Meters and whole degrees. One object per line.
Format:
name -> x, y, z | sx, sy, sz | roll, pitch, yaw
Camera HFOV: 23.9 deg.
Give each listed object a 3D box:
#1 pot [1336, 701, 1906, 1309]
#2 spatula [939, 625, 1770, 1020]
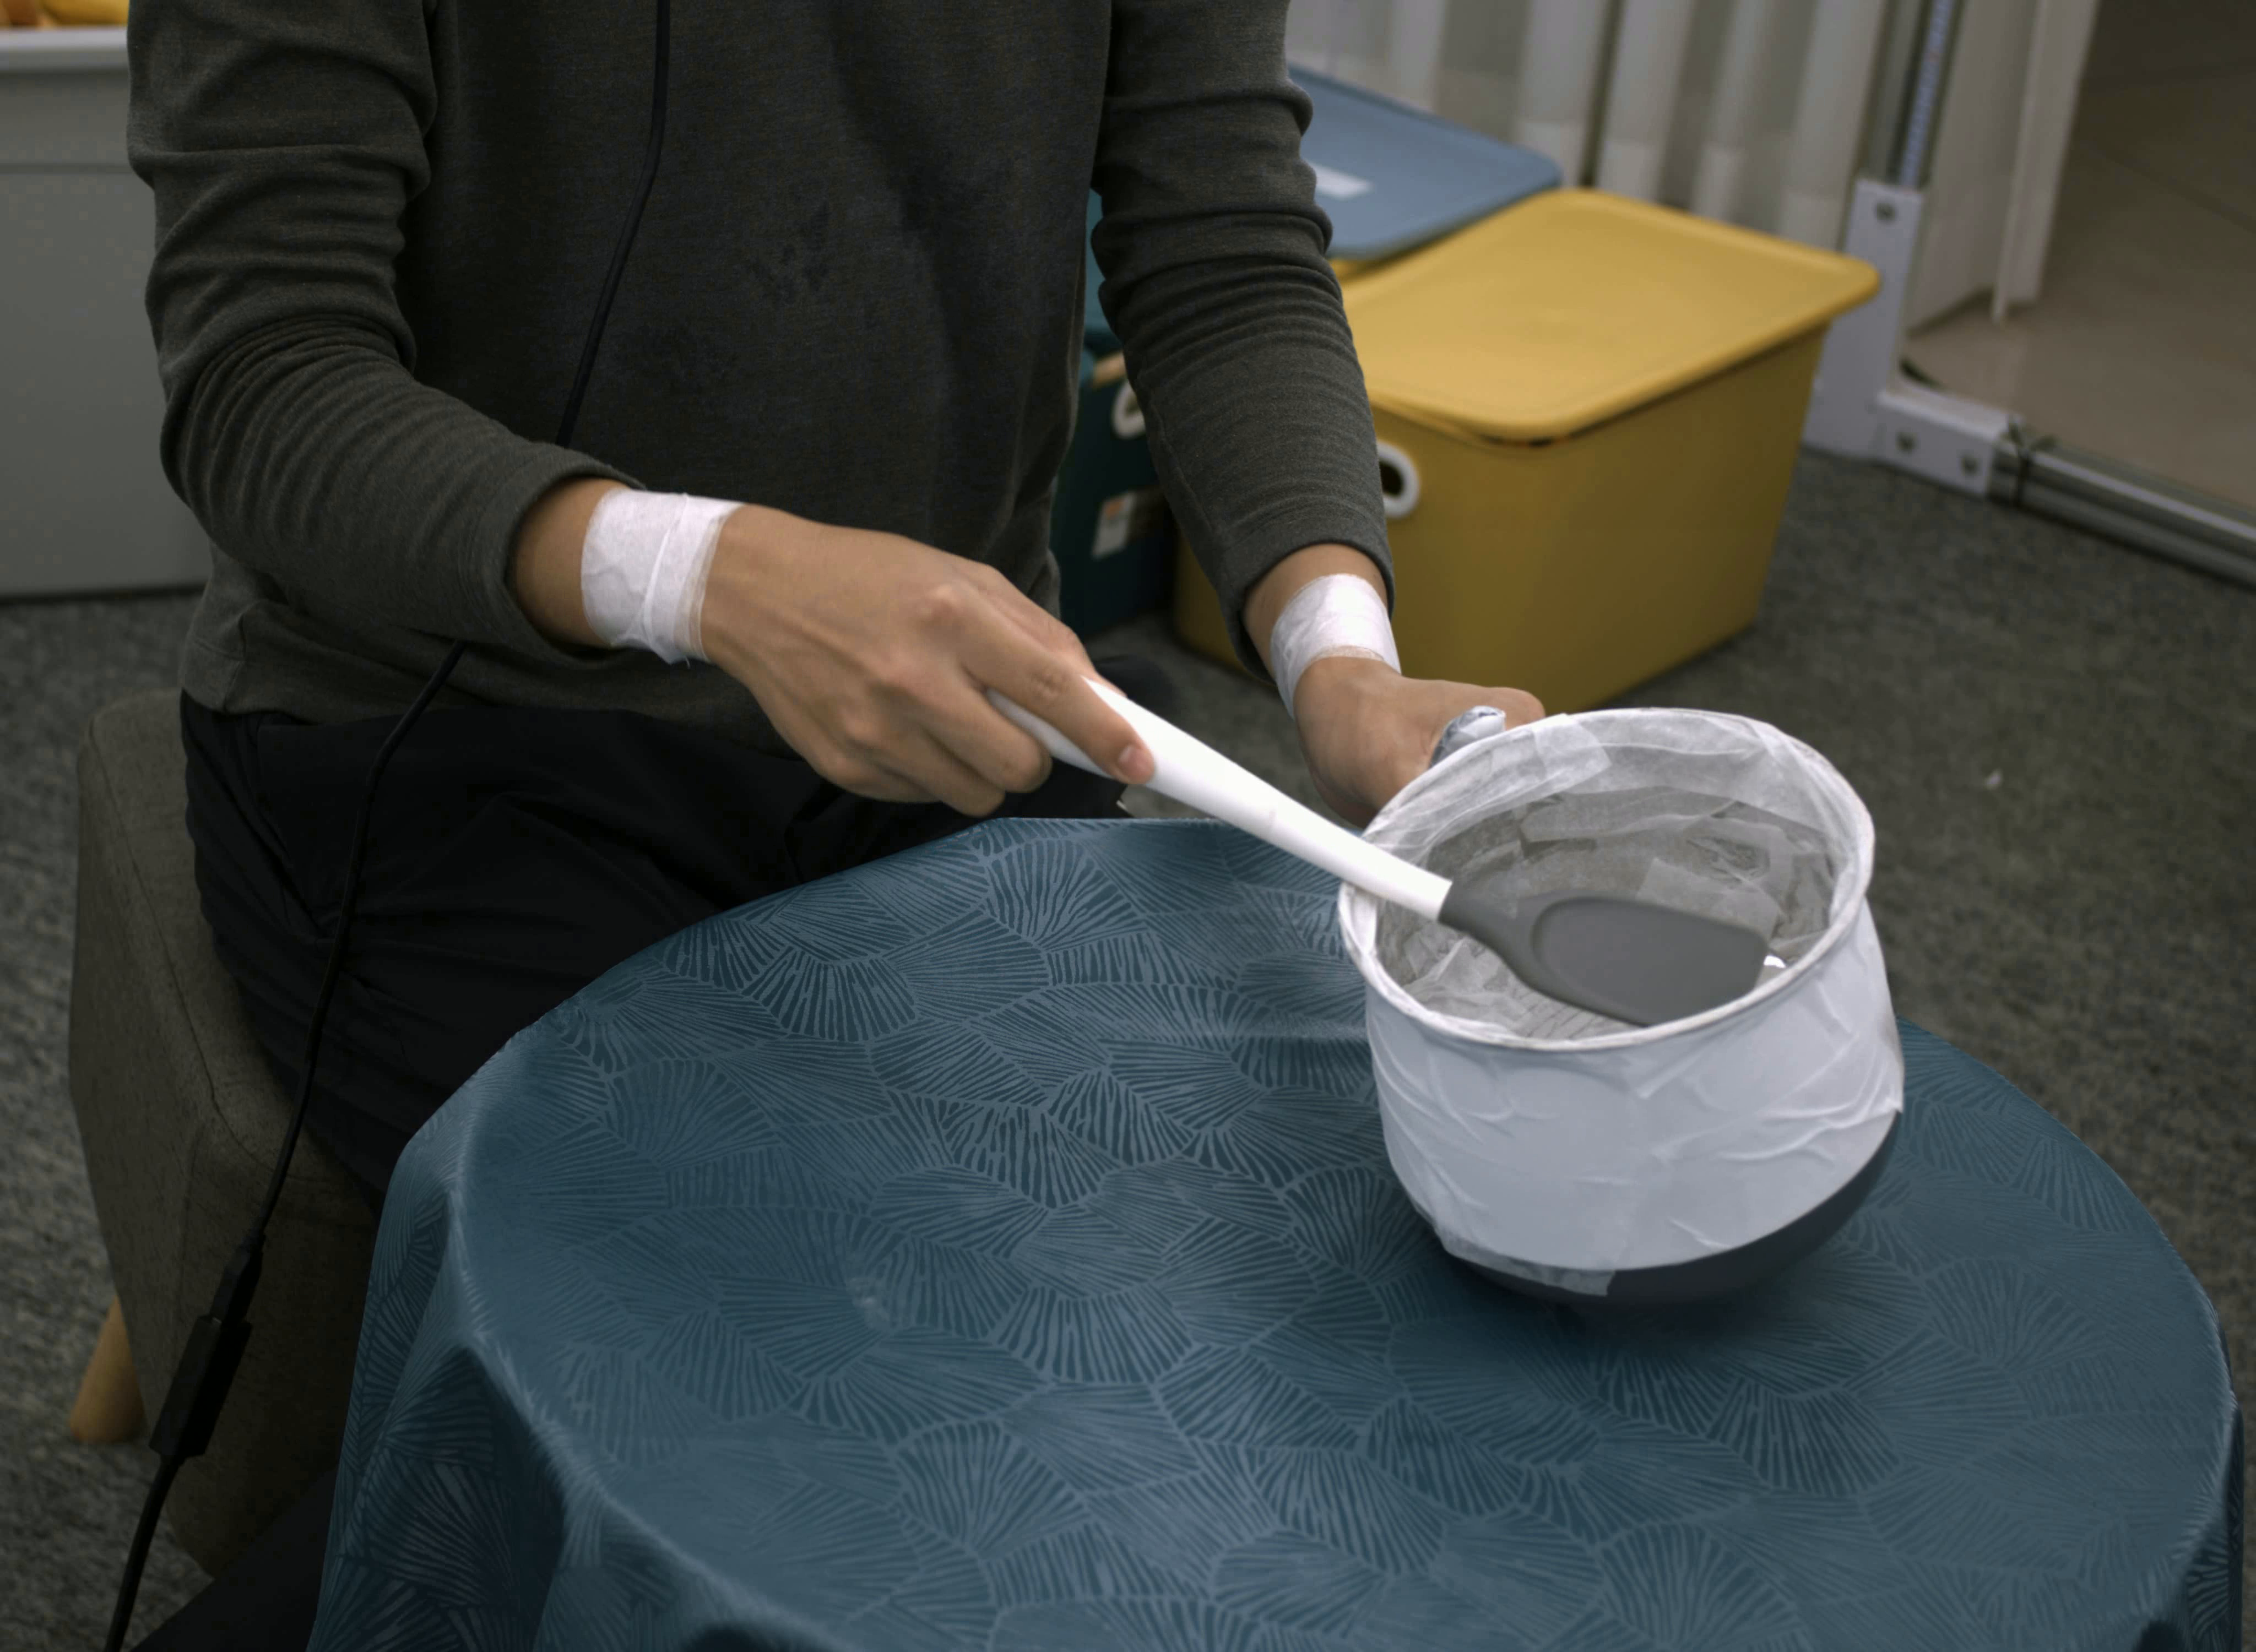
pot -> 0.156, 0.049, 1.795 | 0.178, 0.136, 0.236 | -22, 37, -11
spatula -> 0.072, 0.005, 1.753 | 0.288, 0.032, 0.059 | 24, 49, 8
